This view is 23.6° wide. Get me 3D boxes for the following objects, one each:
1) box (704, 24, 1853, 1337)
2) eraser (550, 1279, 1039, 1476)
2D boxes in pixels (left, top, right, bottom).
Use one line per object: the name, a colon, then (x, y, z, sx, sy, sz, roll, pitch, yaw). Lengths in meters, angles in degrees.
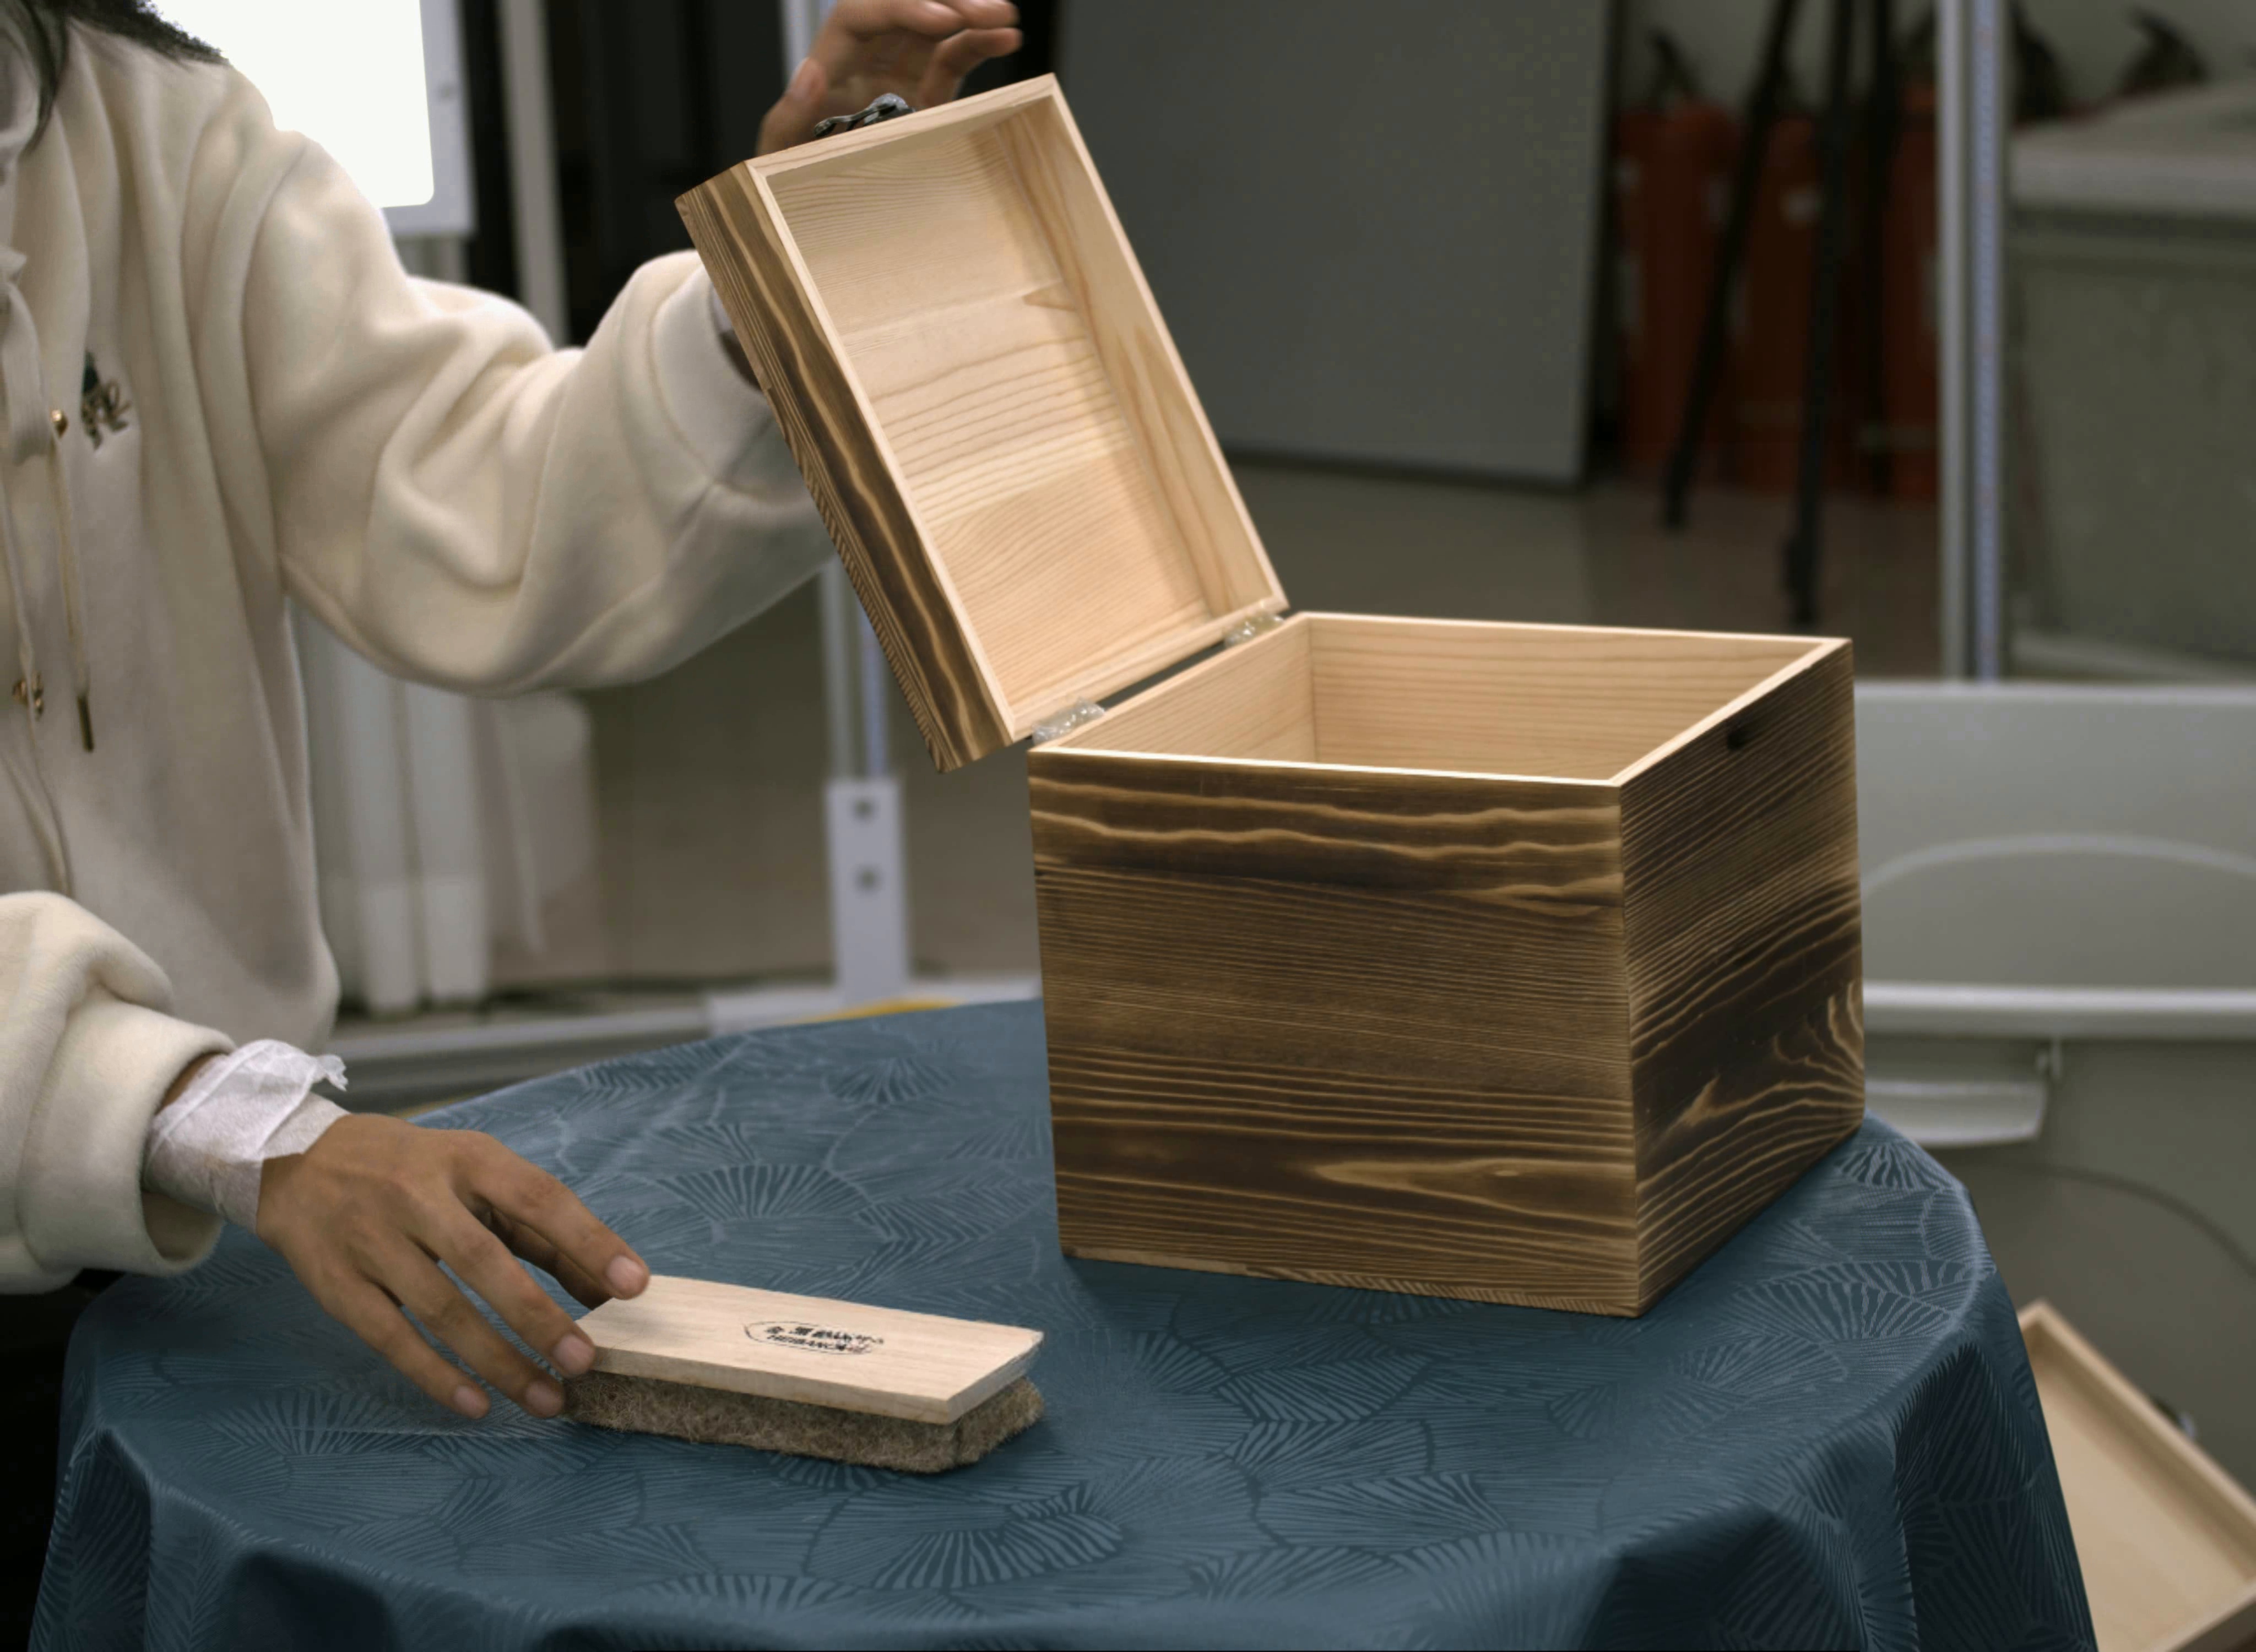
box: (0.054, -0.061, 1.726, 0.323, 0.379, 0.206, 3, 16, 28)
eraser: (-0.096, 0.161, 1.575, 0.140, 0.029, 0.056, 4, 18, 32)
